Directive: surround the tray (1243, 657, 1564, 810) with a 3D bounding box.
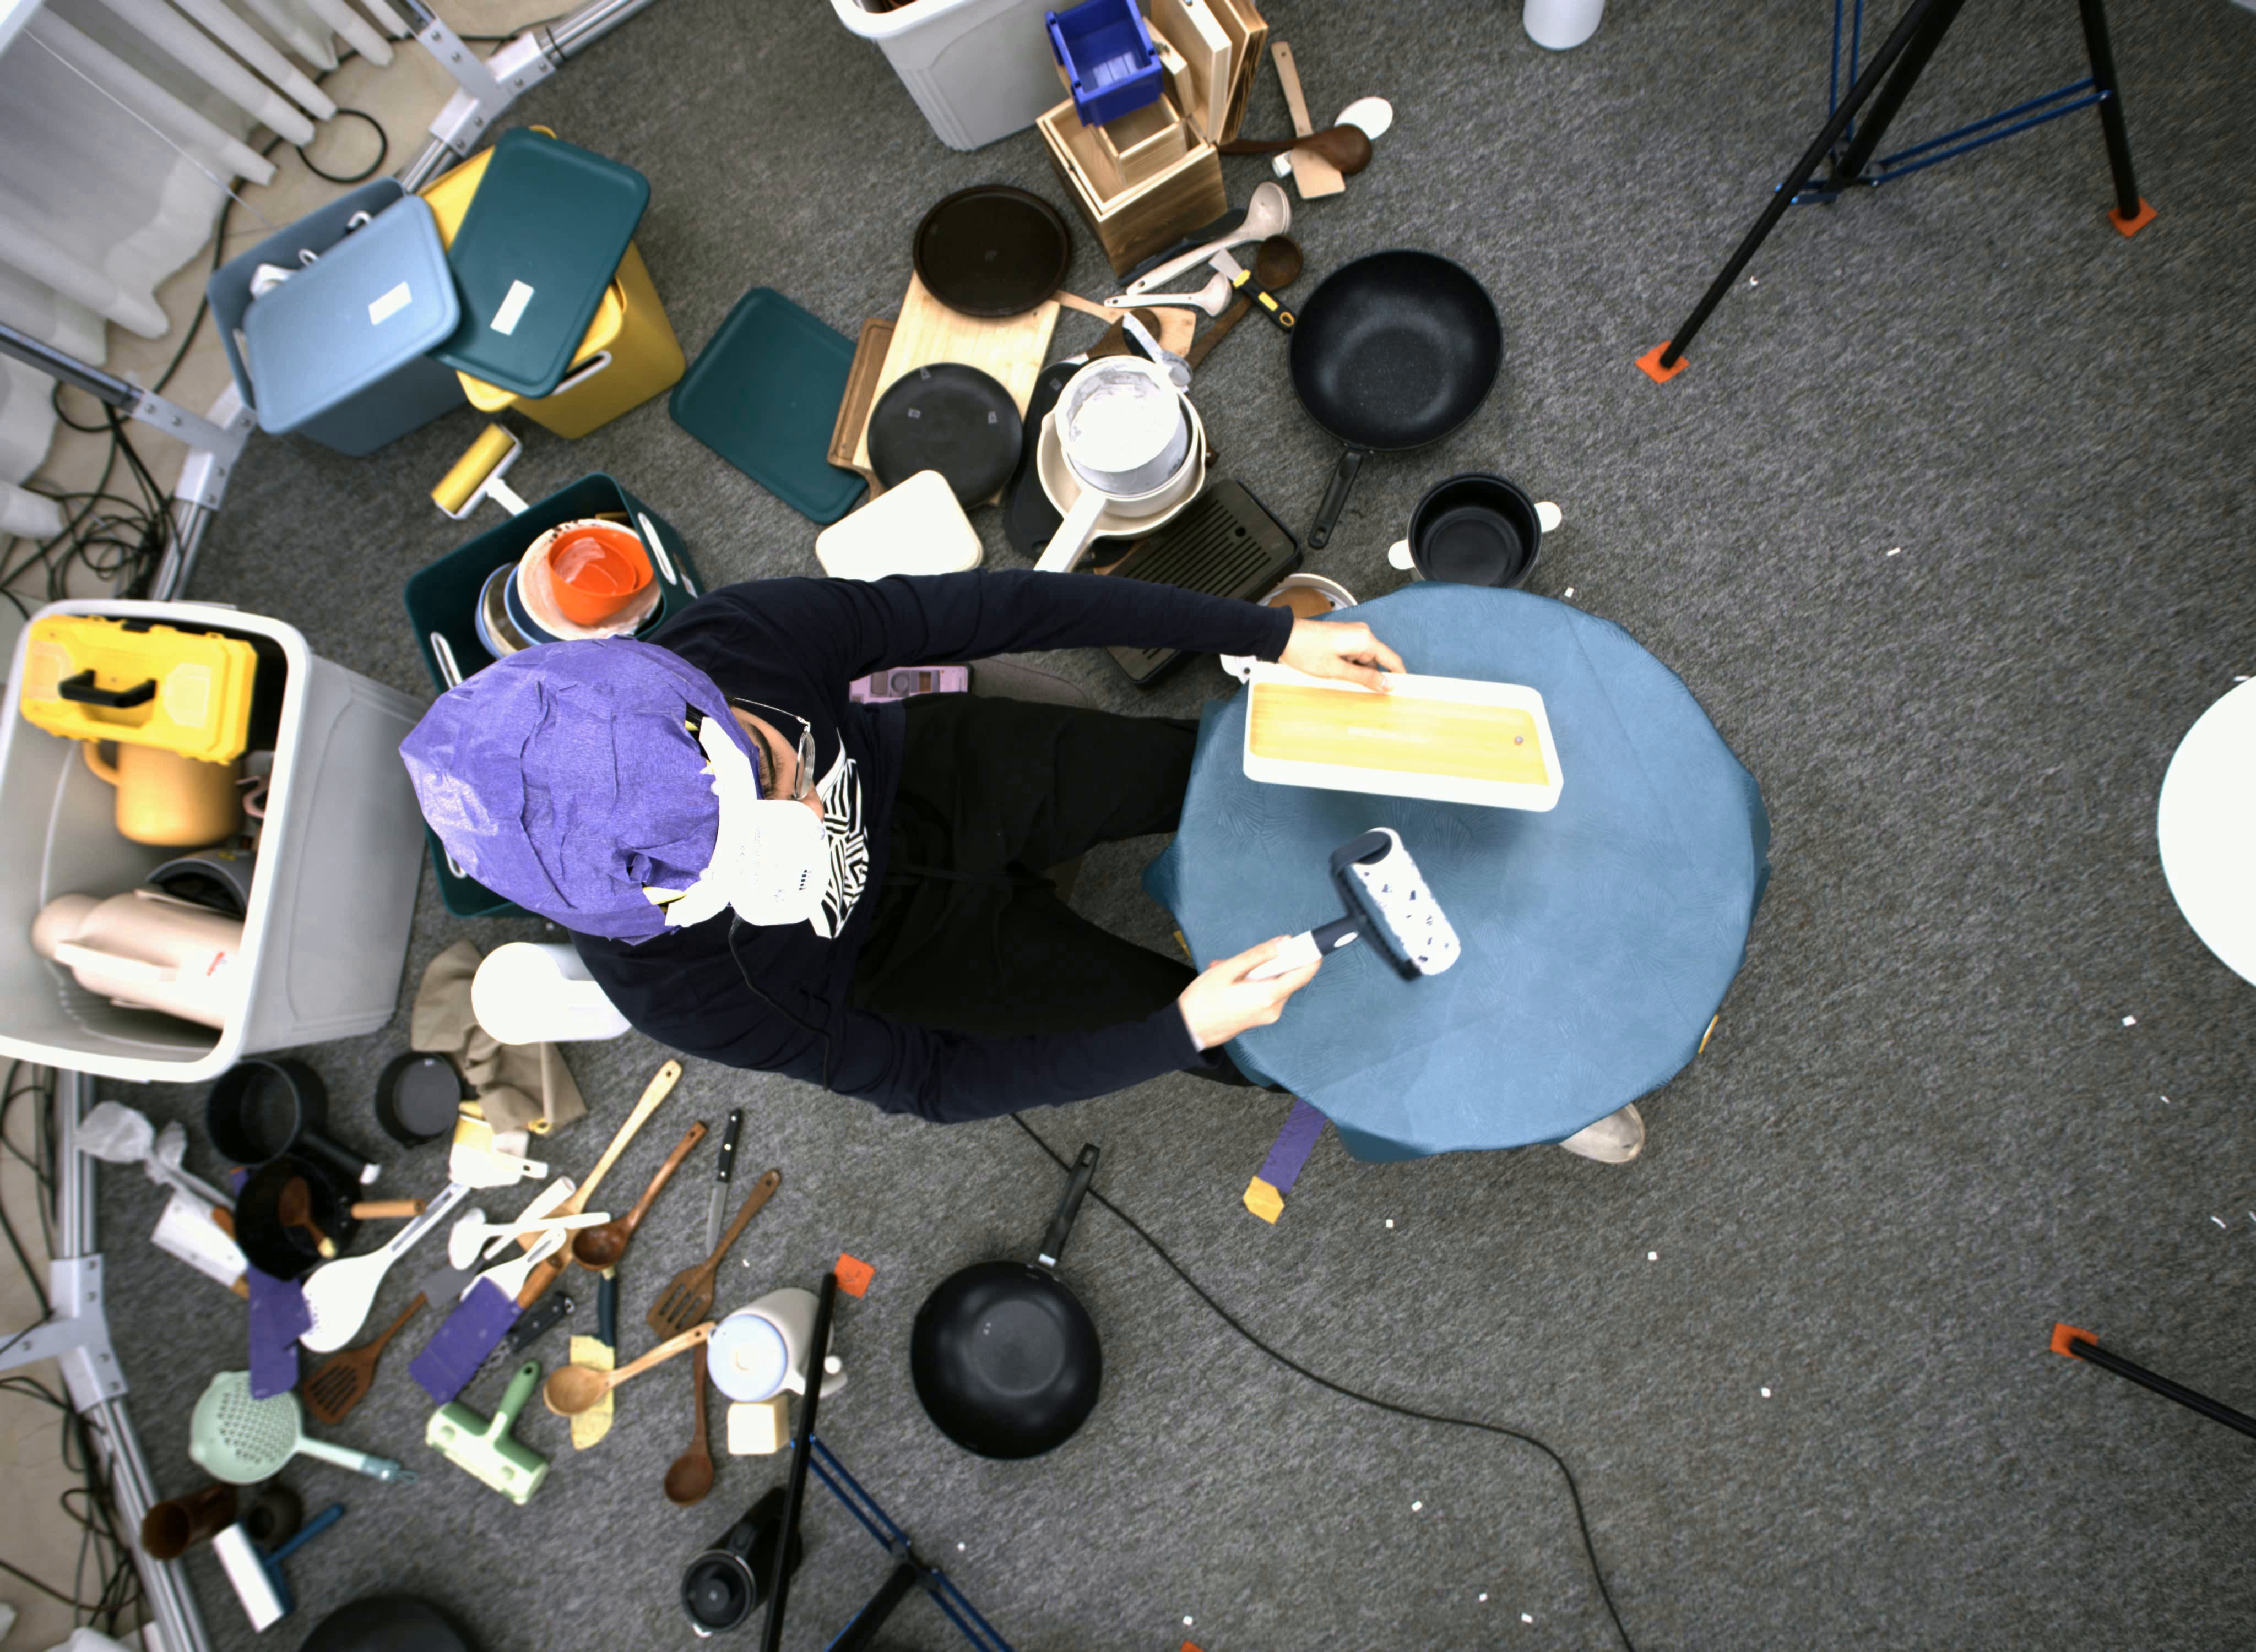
[{"bbox_3d":[0.266,-0.096,1.352,0.301,0.186,0.028,6,129,4],"label":"tray"}]

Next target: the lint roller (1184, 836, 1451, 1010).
[{"bbox_3d":[0.165,0.121,1.305,0.249,0.179,0.049,-28,38,16],"label":"lint roller"}]
